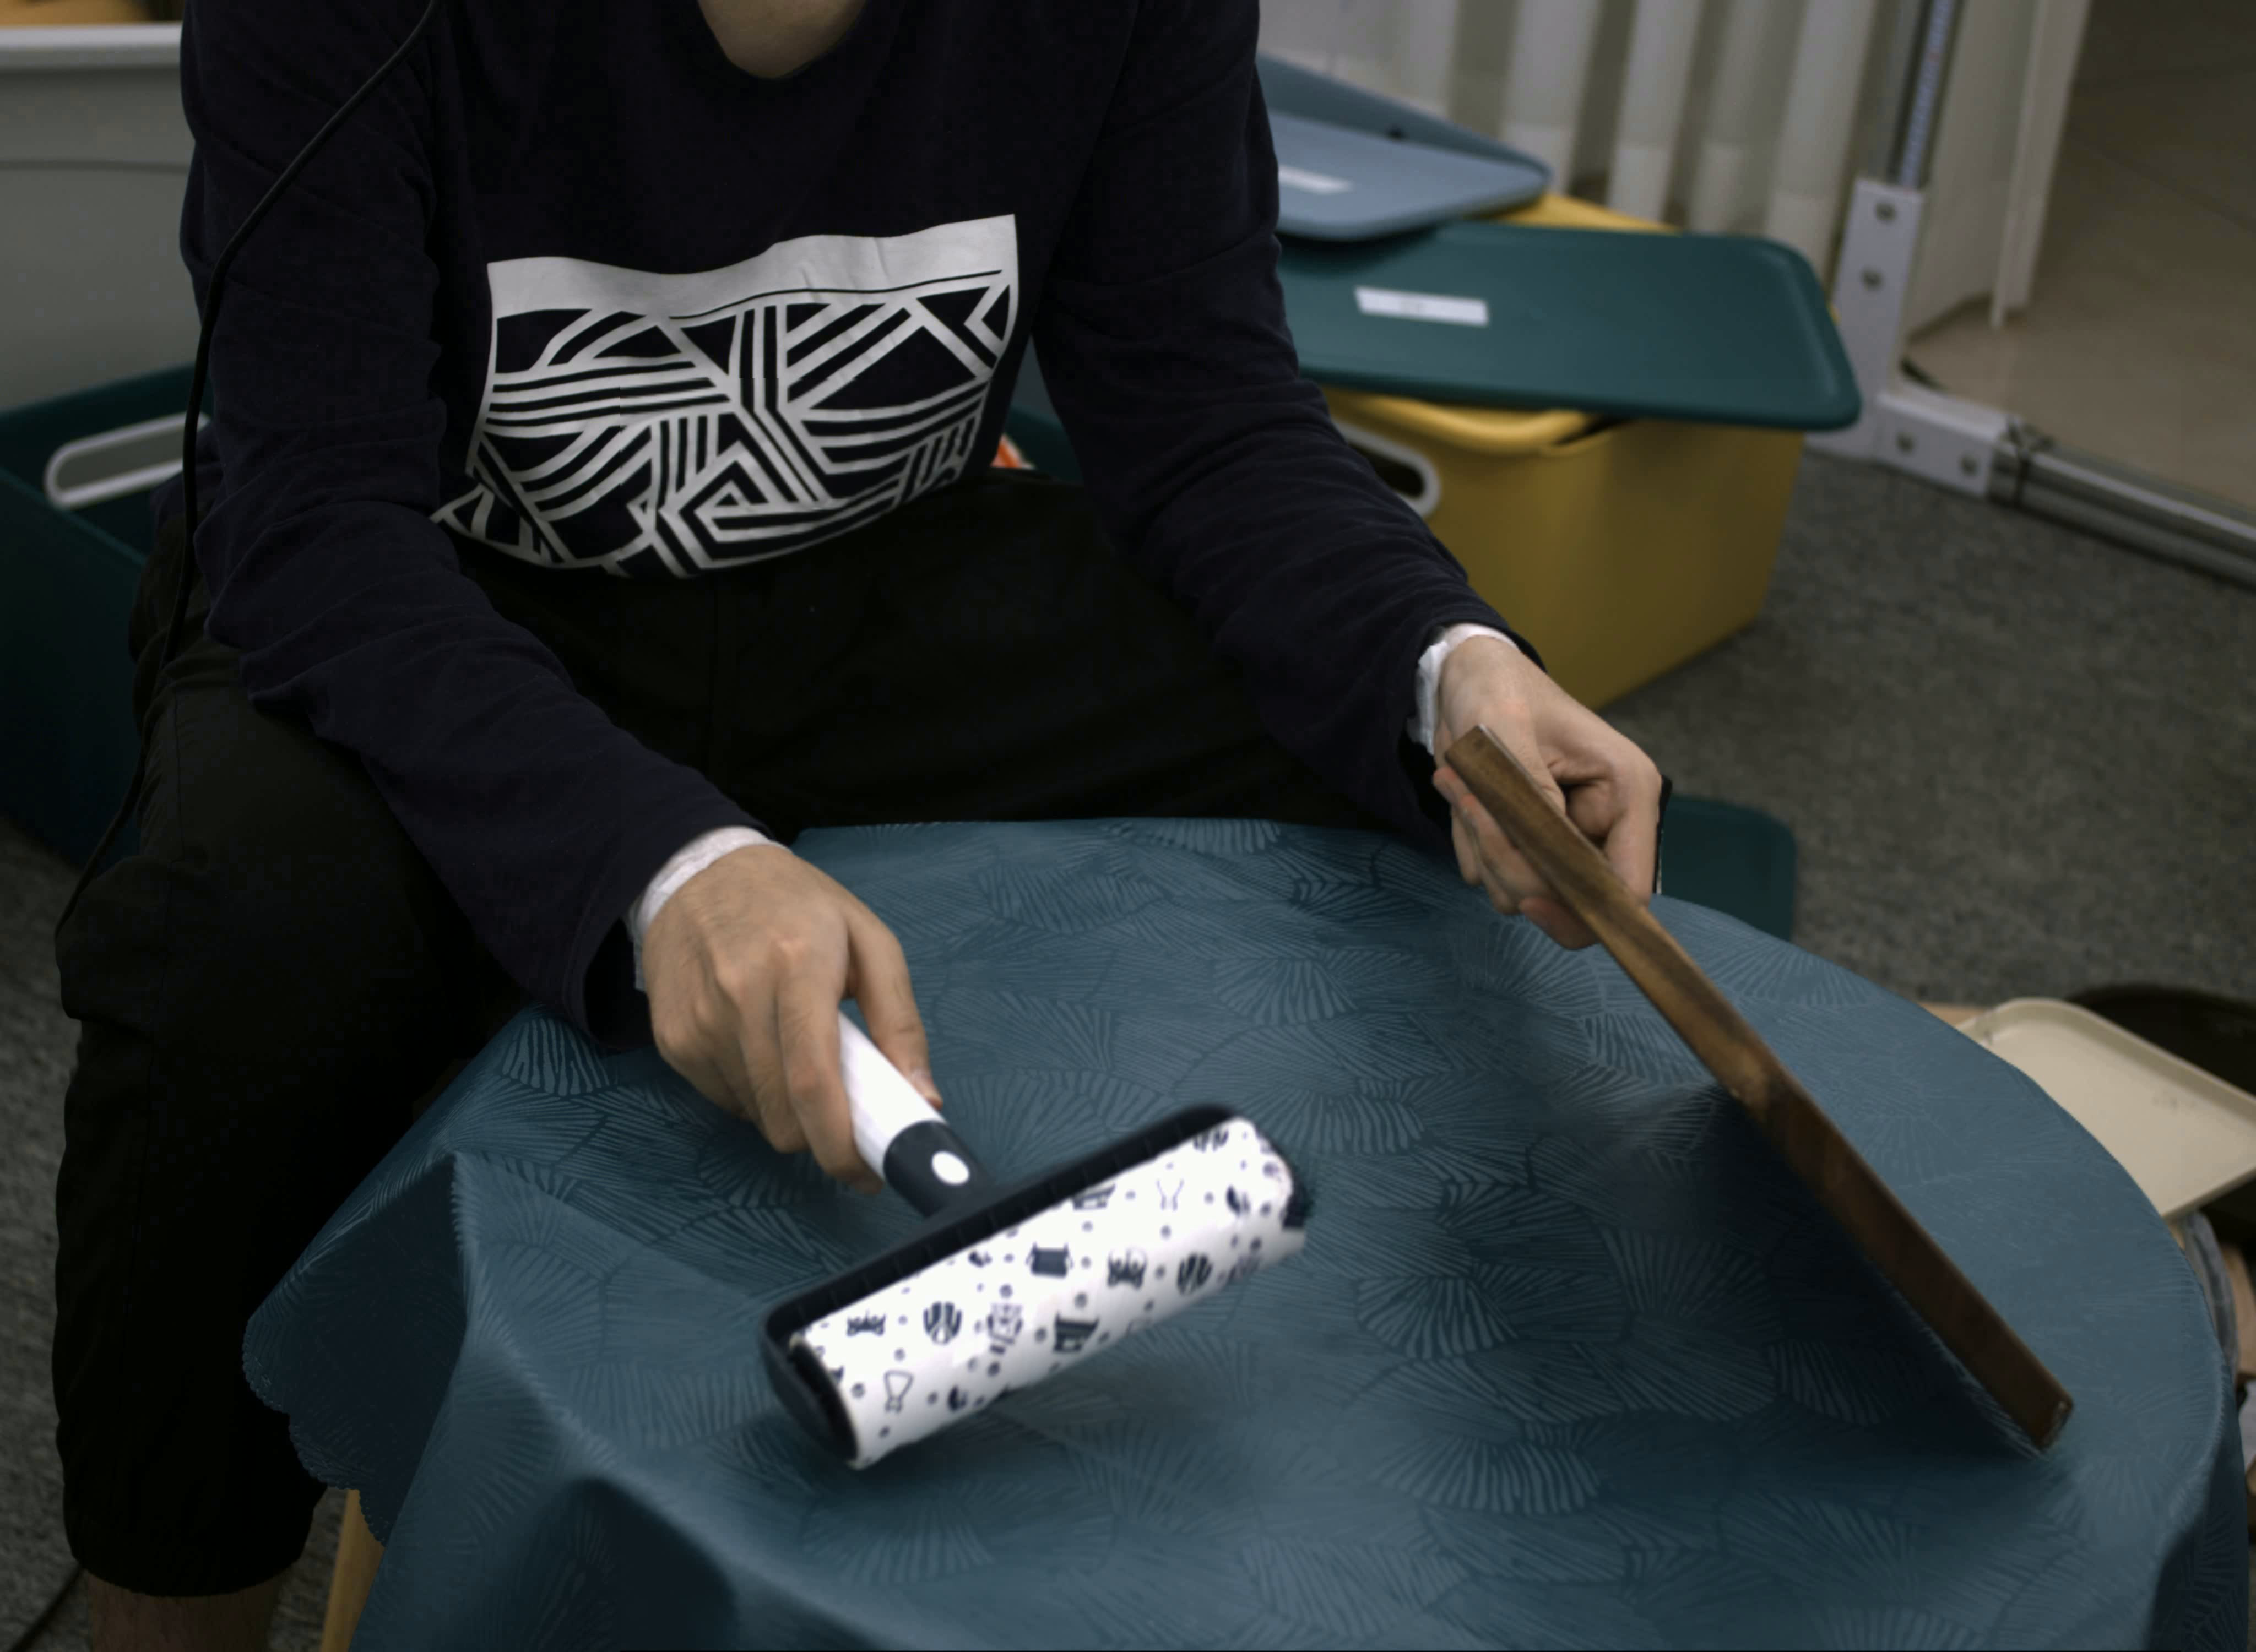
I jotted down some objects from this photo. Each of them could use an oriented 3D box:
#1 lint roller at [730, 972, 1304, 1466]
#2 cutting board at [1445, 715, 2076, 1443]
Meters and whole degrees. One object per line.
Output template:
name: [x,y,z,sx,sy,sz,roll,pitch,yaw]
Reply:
lint roller: [-0.076,0.103,1.730,0.175,0.050,0.249,-25,35,-18]
cutting board: [0.191,0.059,1.805,0.023,0.199,0.355,-40,33,3]
